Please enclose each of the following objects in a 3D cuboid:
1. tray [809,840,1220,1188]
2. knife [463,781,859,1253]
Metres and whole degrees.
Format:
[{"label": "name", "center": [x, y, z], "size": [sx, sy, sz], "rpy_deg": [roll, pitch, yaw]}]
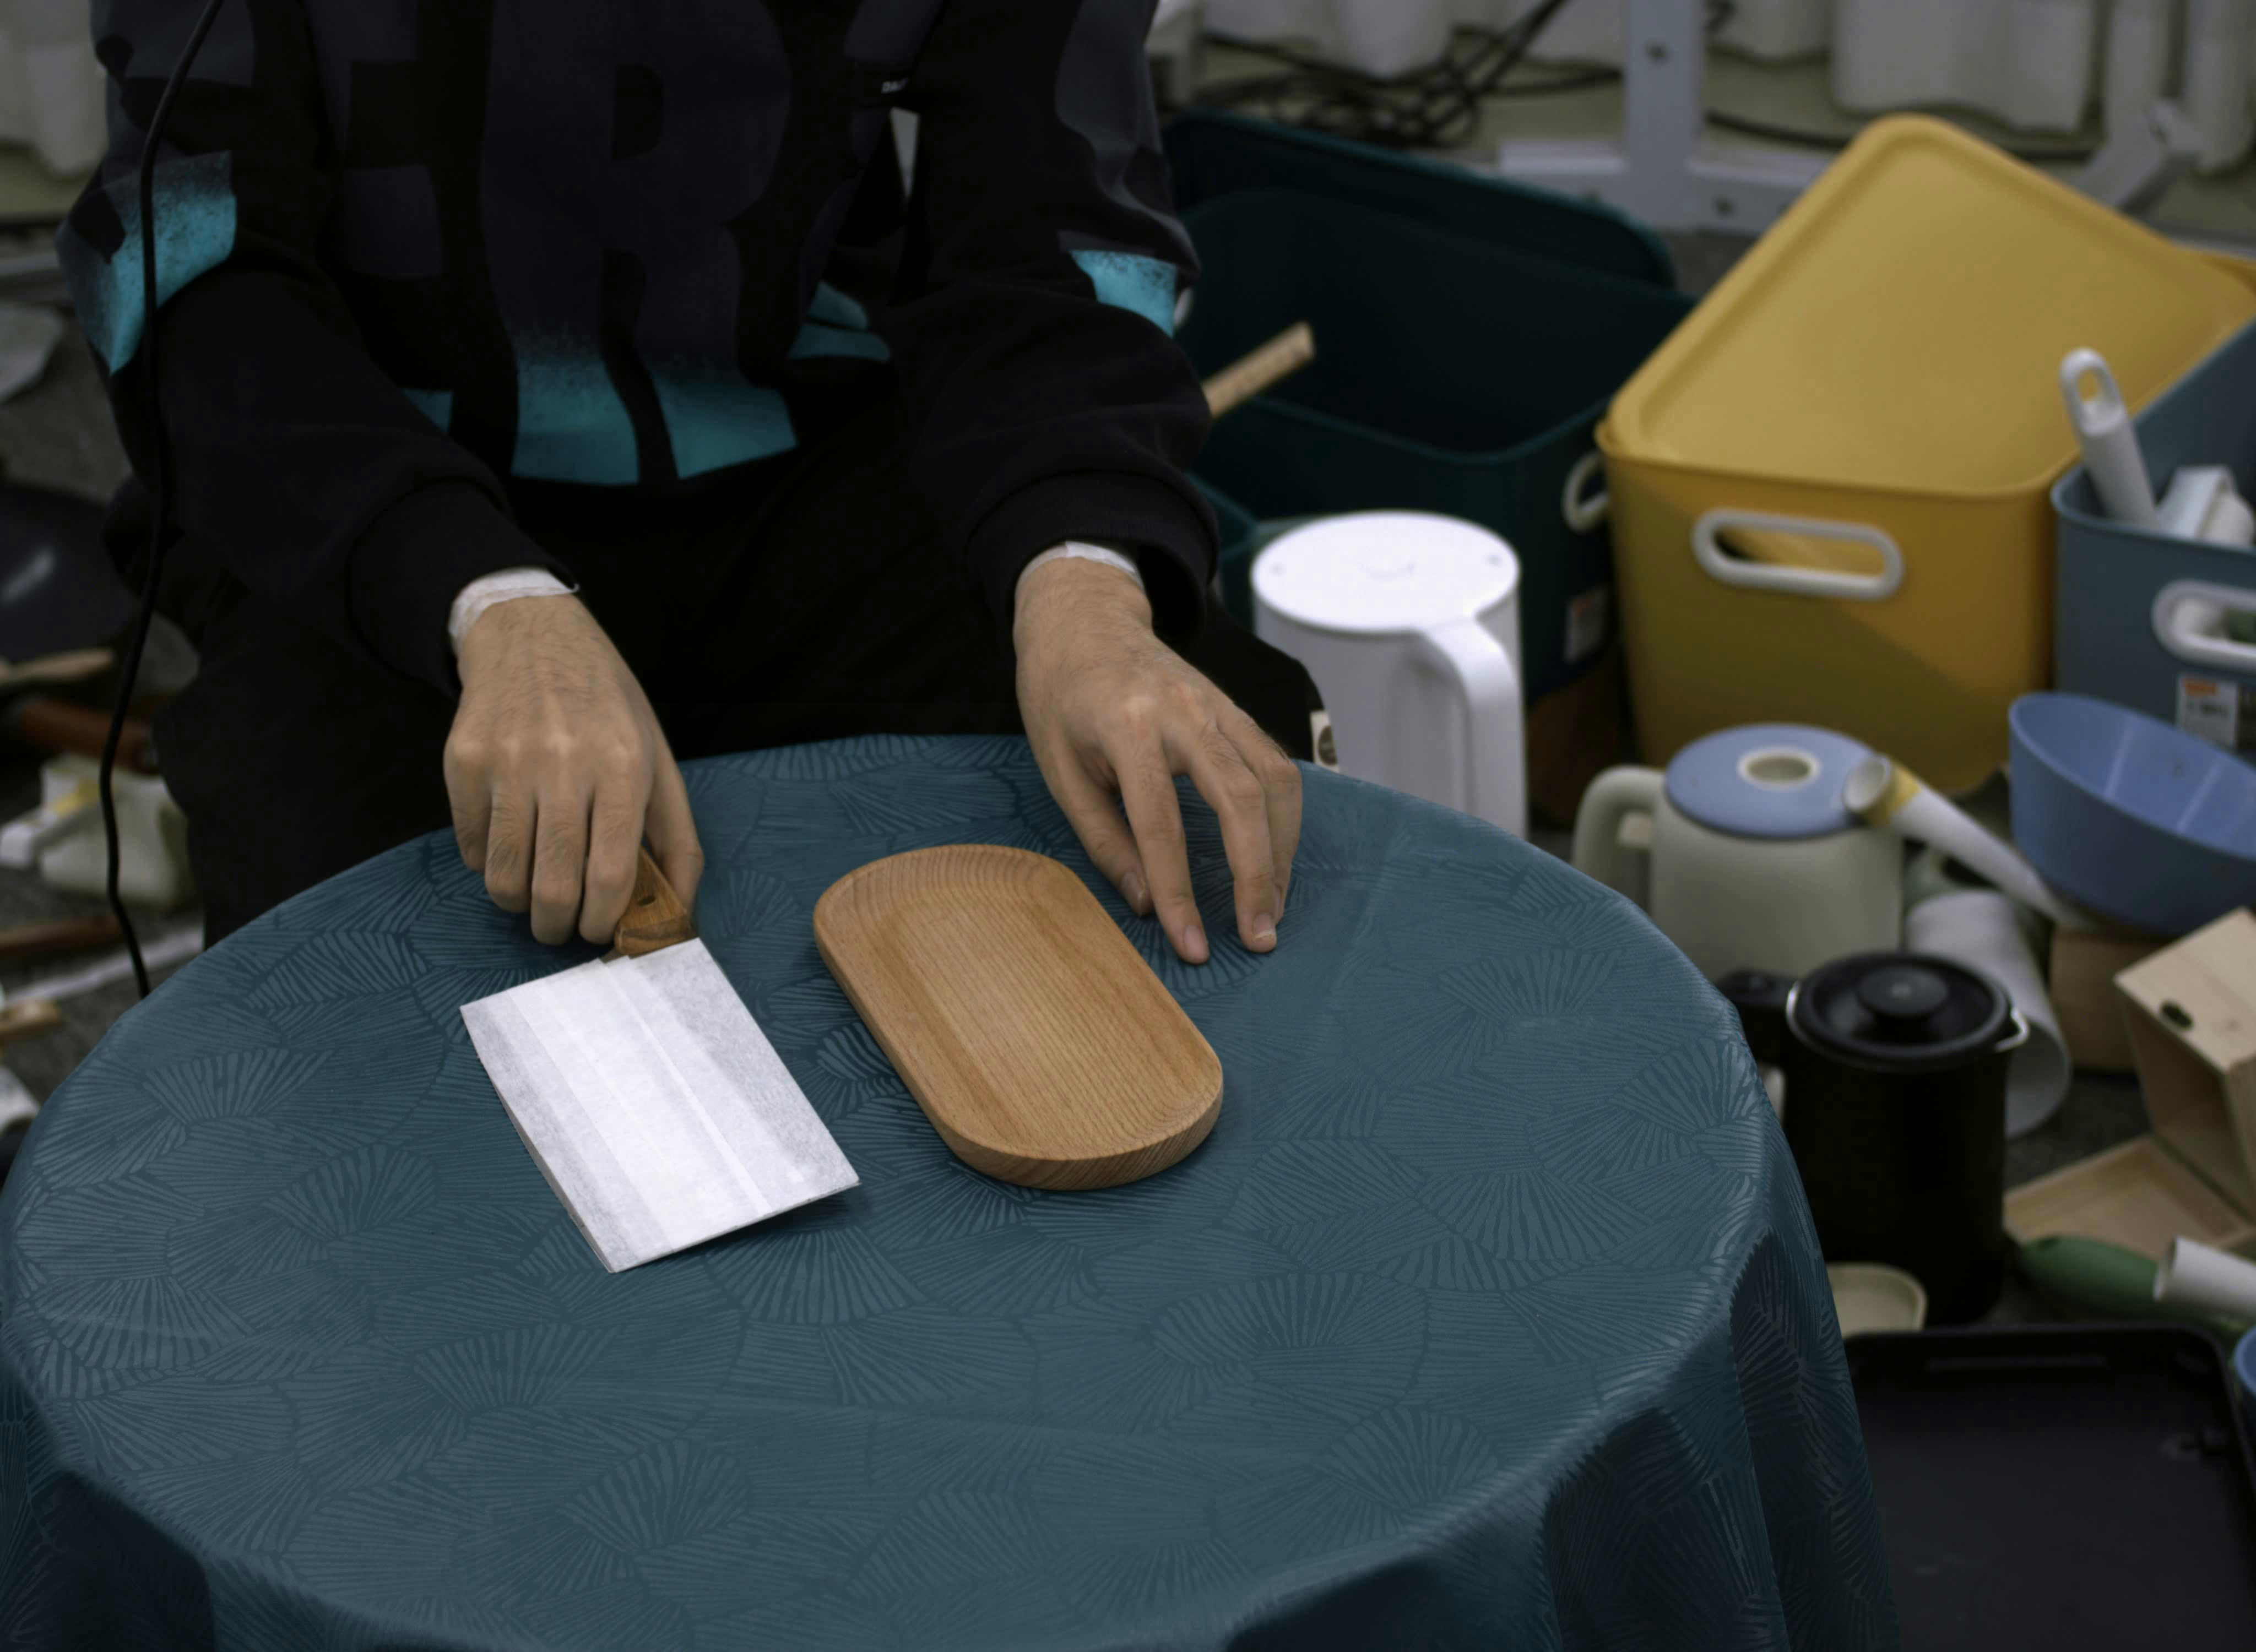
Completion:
[{"label": "tray", "center": [-0.041, 0.063, 1.960], "size": [0.102, 0.020, 0.233], "rpy_deg": [-11, 28, -17]}, {"label": "knife", "center": [-0.181, 0.067, 1.968], "size": [0.093, 0.021, 0.308], "rpy_deg": [-20, 32, -13]}]
